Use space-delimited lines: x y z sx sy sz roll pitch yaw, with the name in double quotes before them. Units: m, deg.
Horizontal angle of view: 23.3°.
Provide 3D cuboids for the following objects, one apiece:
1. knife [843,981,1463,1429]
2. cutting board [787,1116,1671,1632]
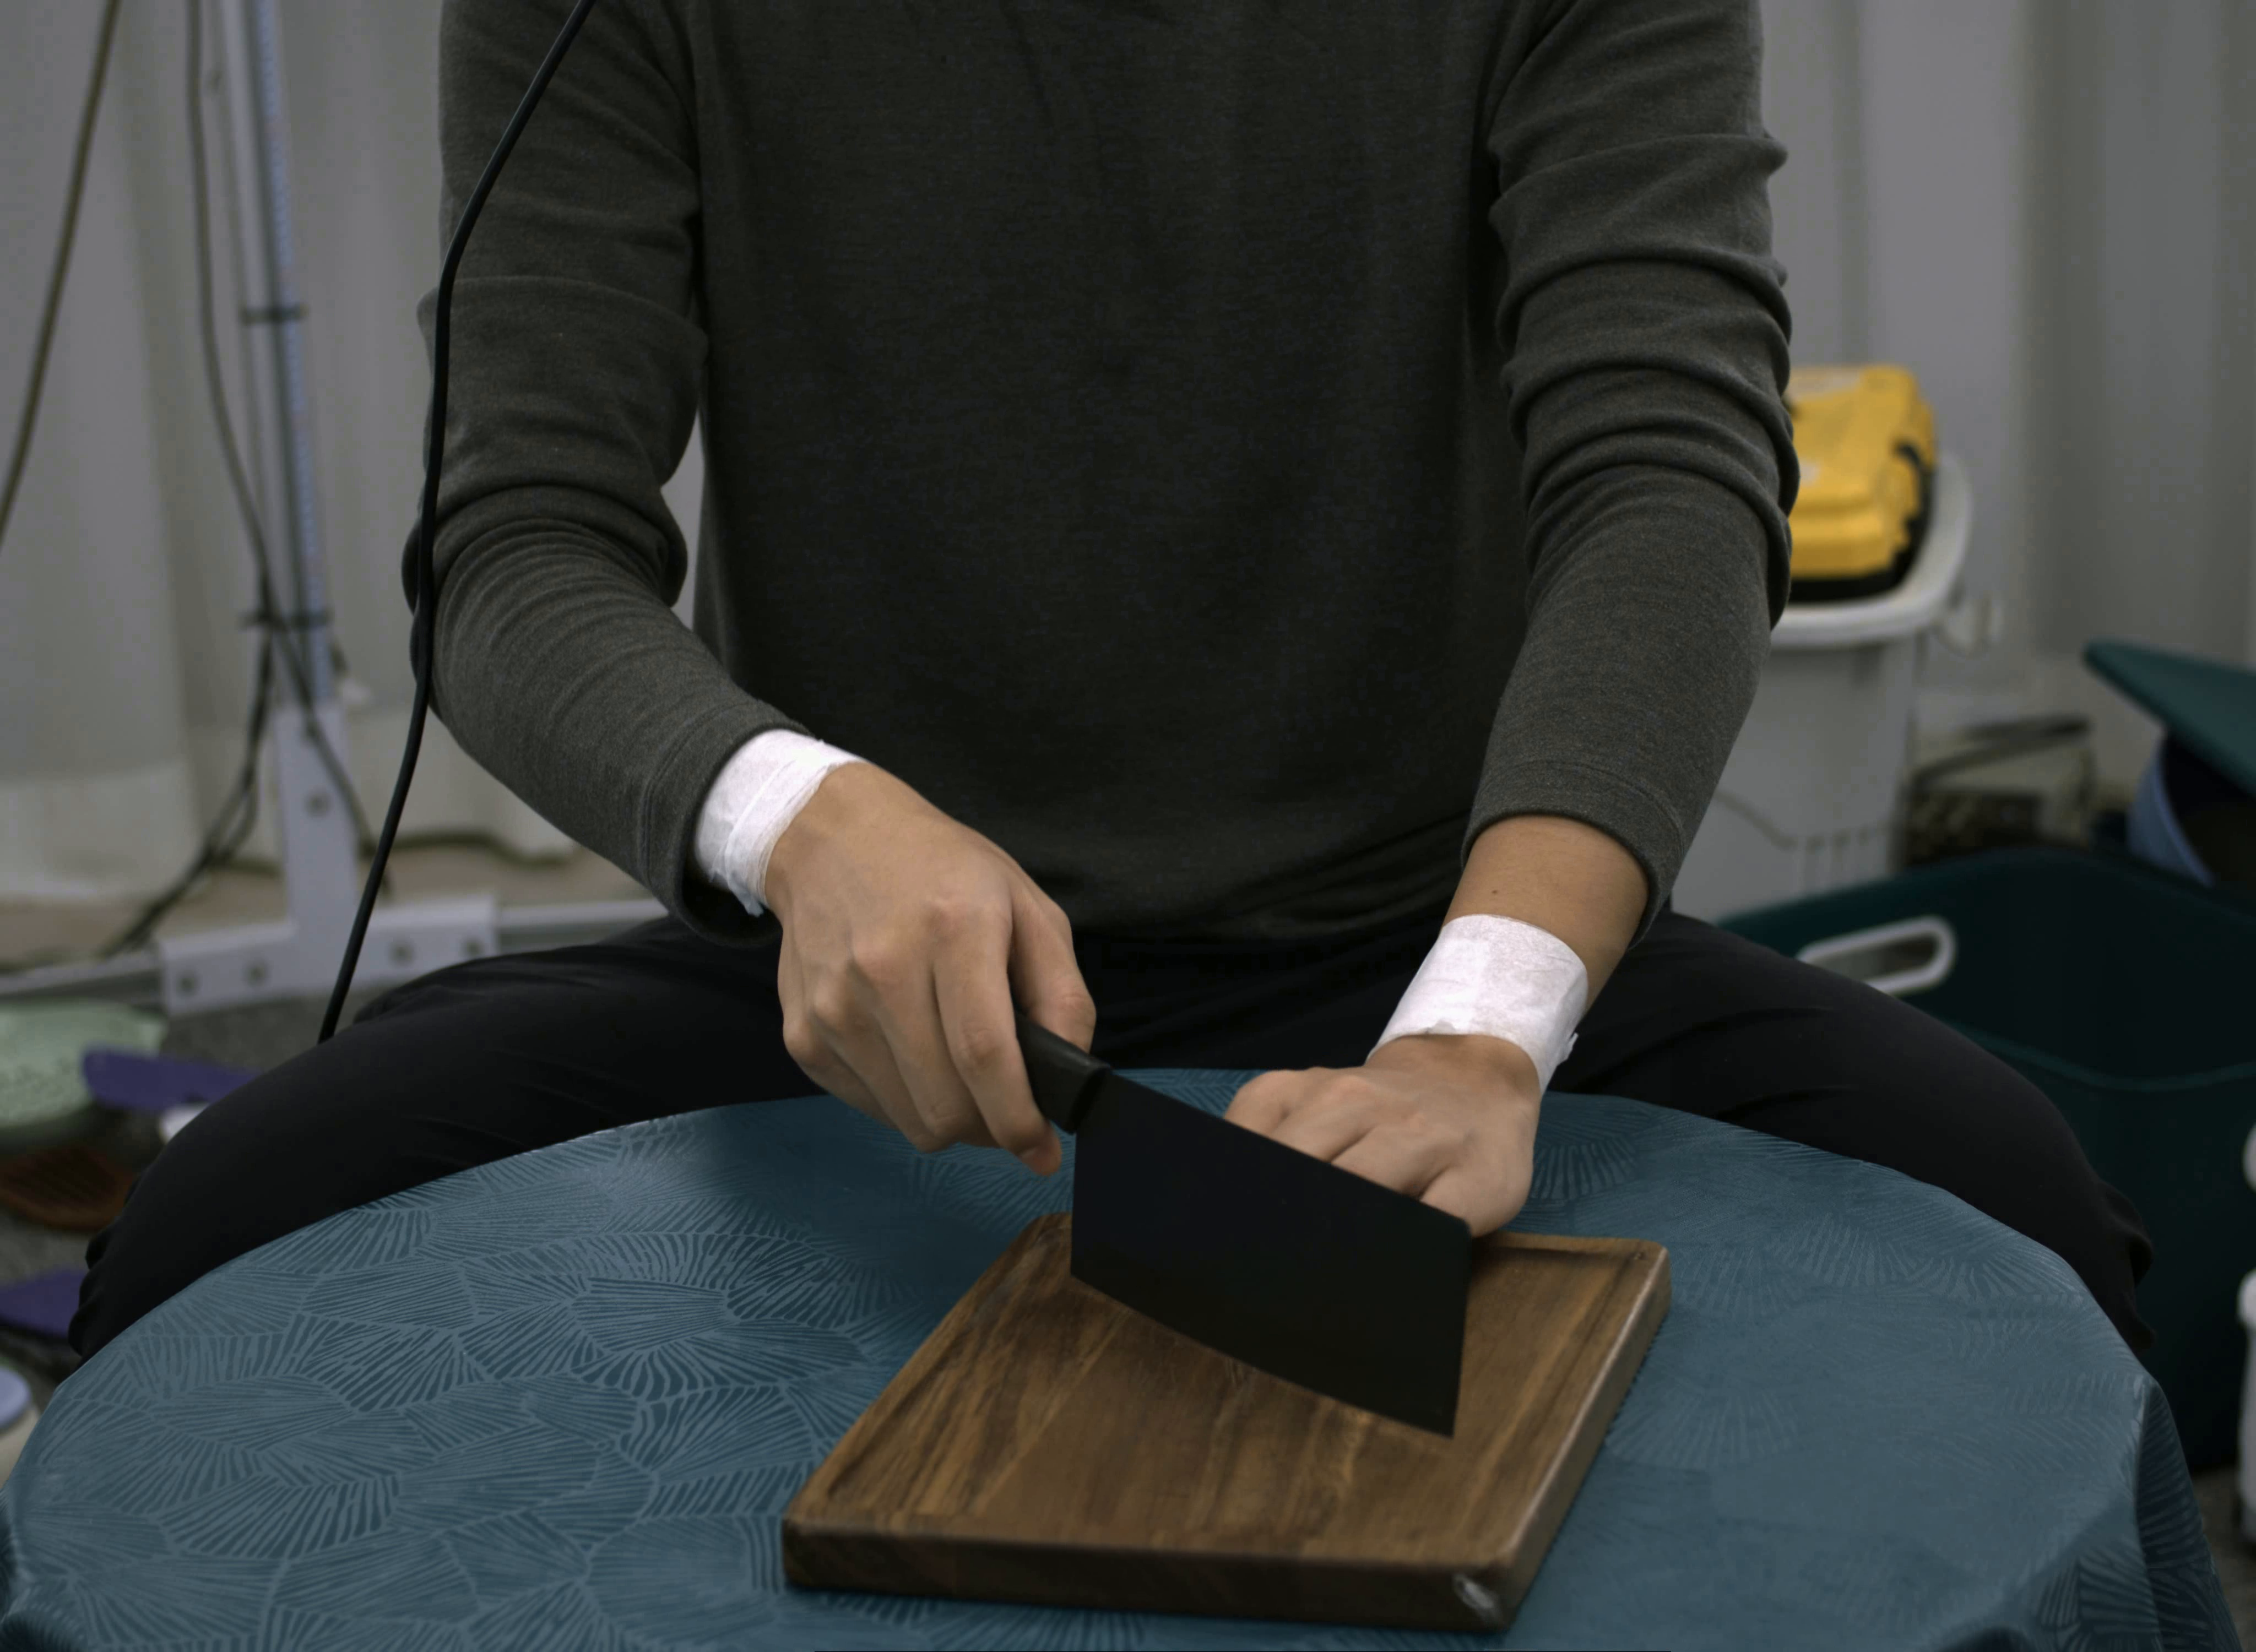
"knife" 0.003 0.101 1.557 0.021 0.080 0.305 -3 17 -34
"cutting board" 0.047 0.146 1.549 0.201 0.023 0.353 2 15 15
